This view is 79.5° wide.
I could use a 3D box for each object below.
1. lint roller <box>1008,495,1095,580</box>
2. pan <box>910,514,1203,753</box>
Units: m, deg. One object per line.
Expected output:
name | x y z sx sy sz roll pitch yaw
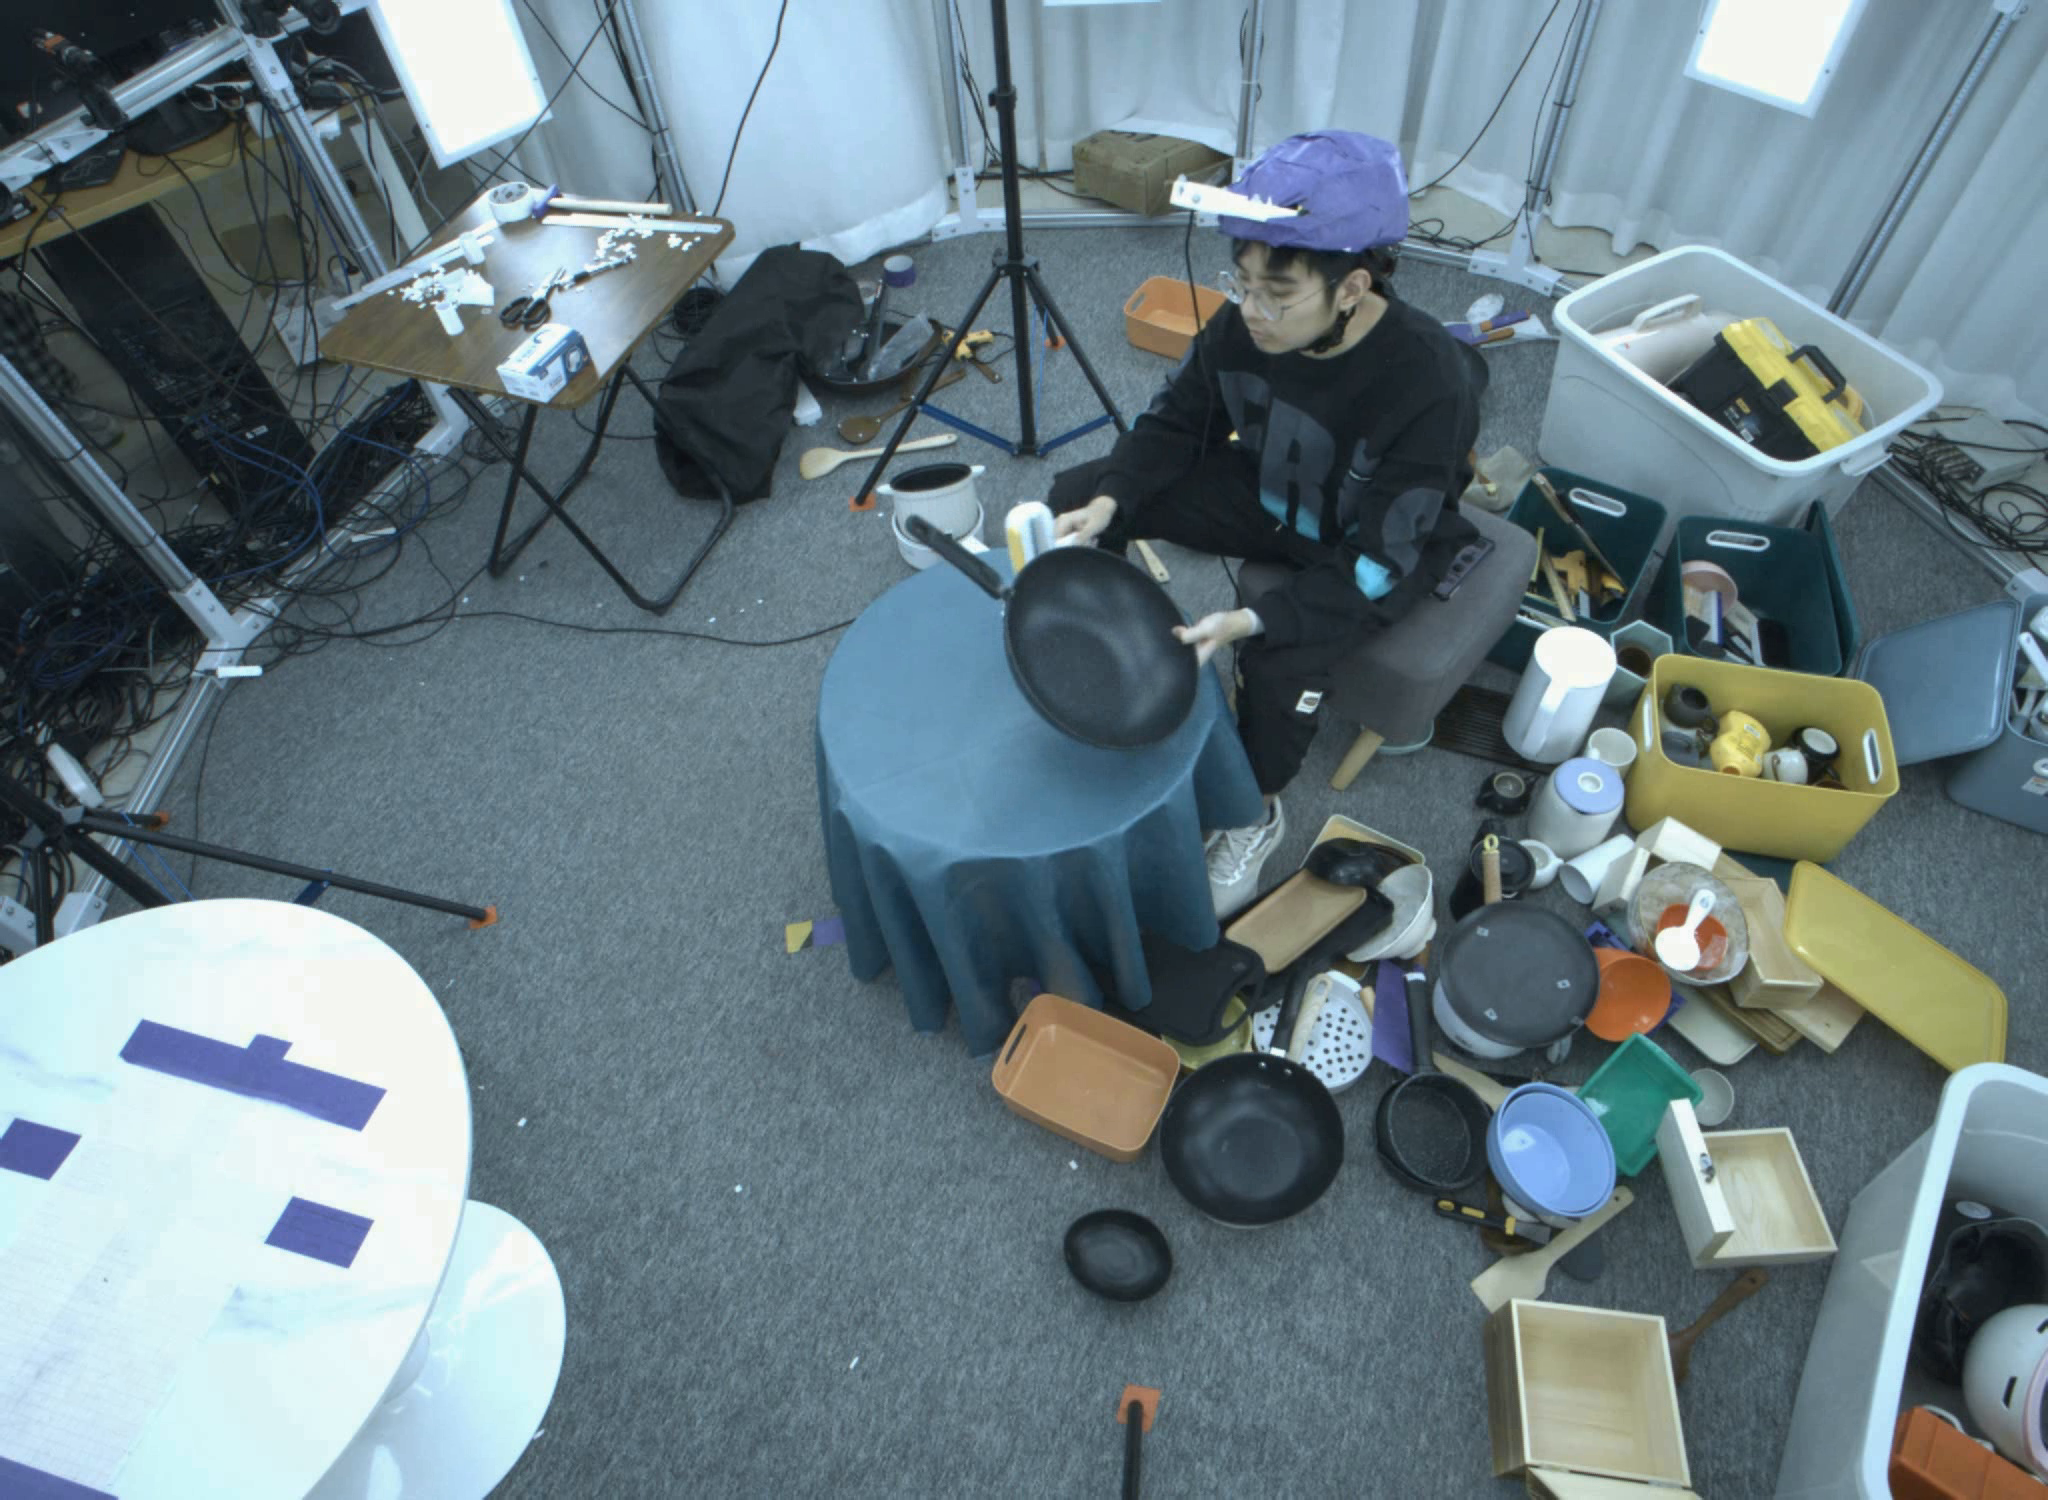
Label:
lint roller | 0.055 -0.303 1.872 0.072 0.194 0.195 12 28 42
pan | 0.033 -0.168 1.669 0.484 0.110 0.309 28 57 -20
